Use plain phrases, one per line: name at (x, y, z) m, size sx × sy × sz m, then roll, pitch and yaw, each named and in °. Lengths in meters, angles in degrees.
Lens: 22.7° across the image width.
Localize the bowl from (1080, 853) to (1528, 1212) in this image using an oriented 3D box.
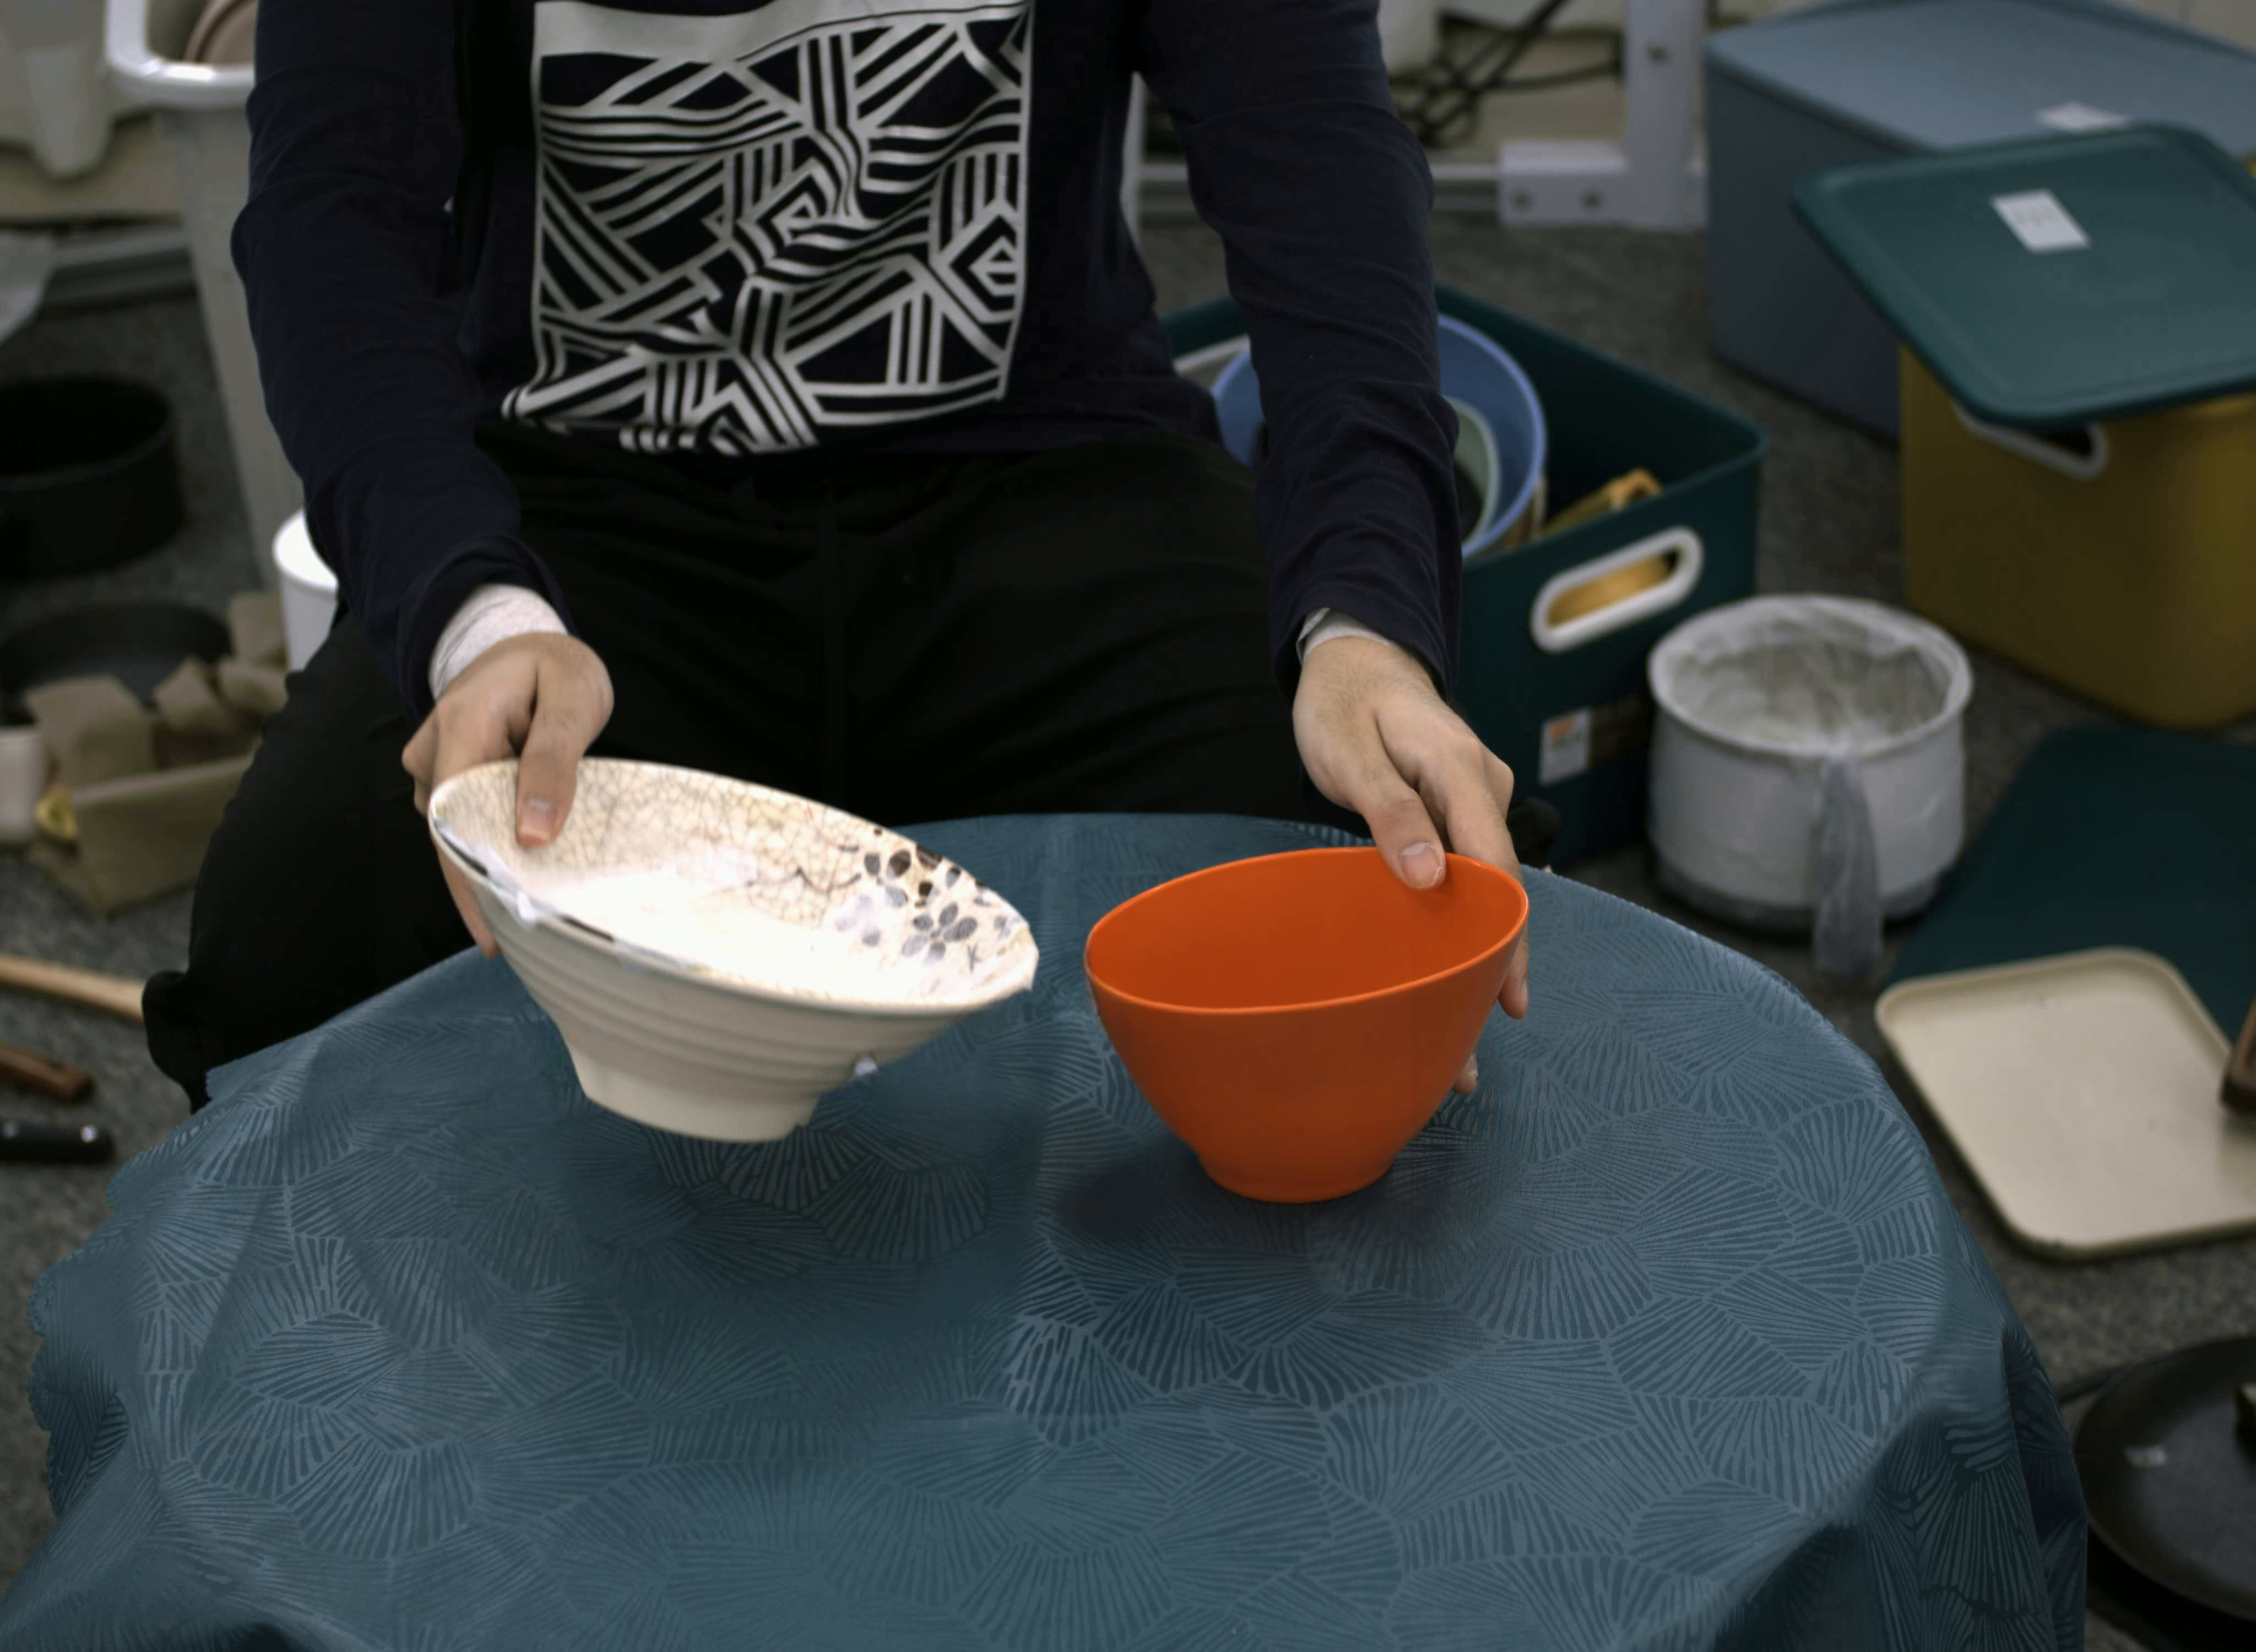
bowl at (0.059, 0.071, 1.848) m, size 0.147 × 0.103 × 0.150 m, roll -3°, pitch 25°, yaw 2°

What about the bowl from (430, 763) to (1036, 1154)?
bowl at (-0.137, 0.053, 1.824) m, size 0.203 × 0.077 × 0.206 m, roll 16°, pitch 15°, yaw -4°
